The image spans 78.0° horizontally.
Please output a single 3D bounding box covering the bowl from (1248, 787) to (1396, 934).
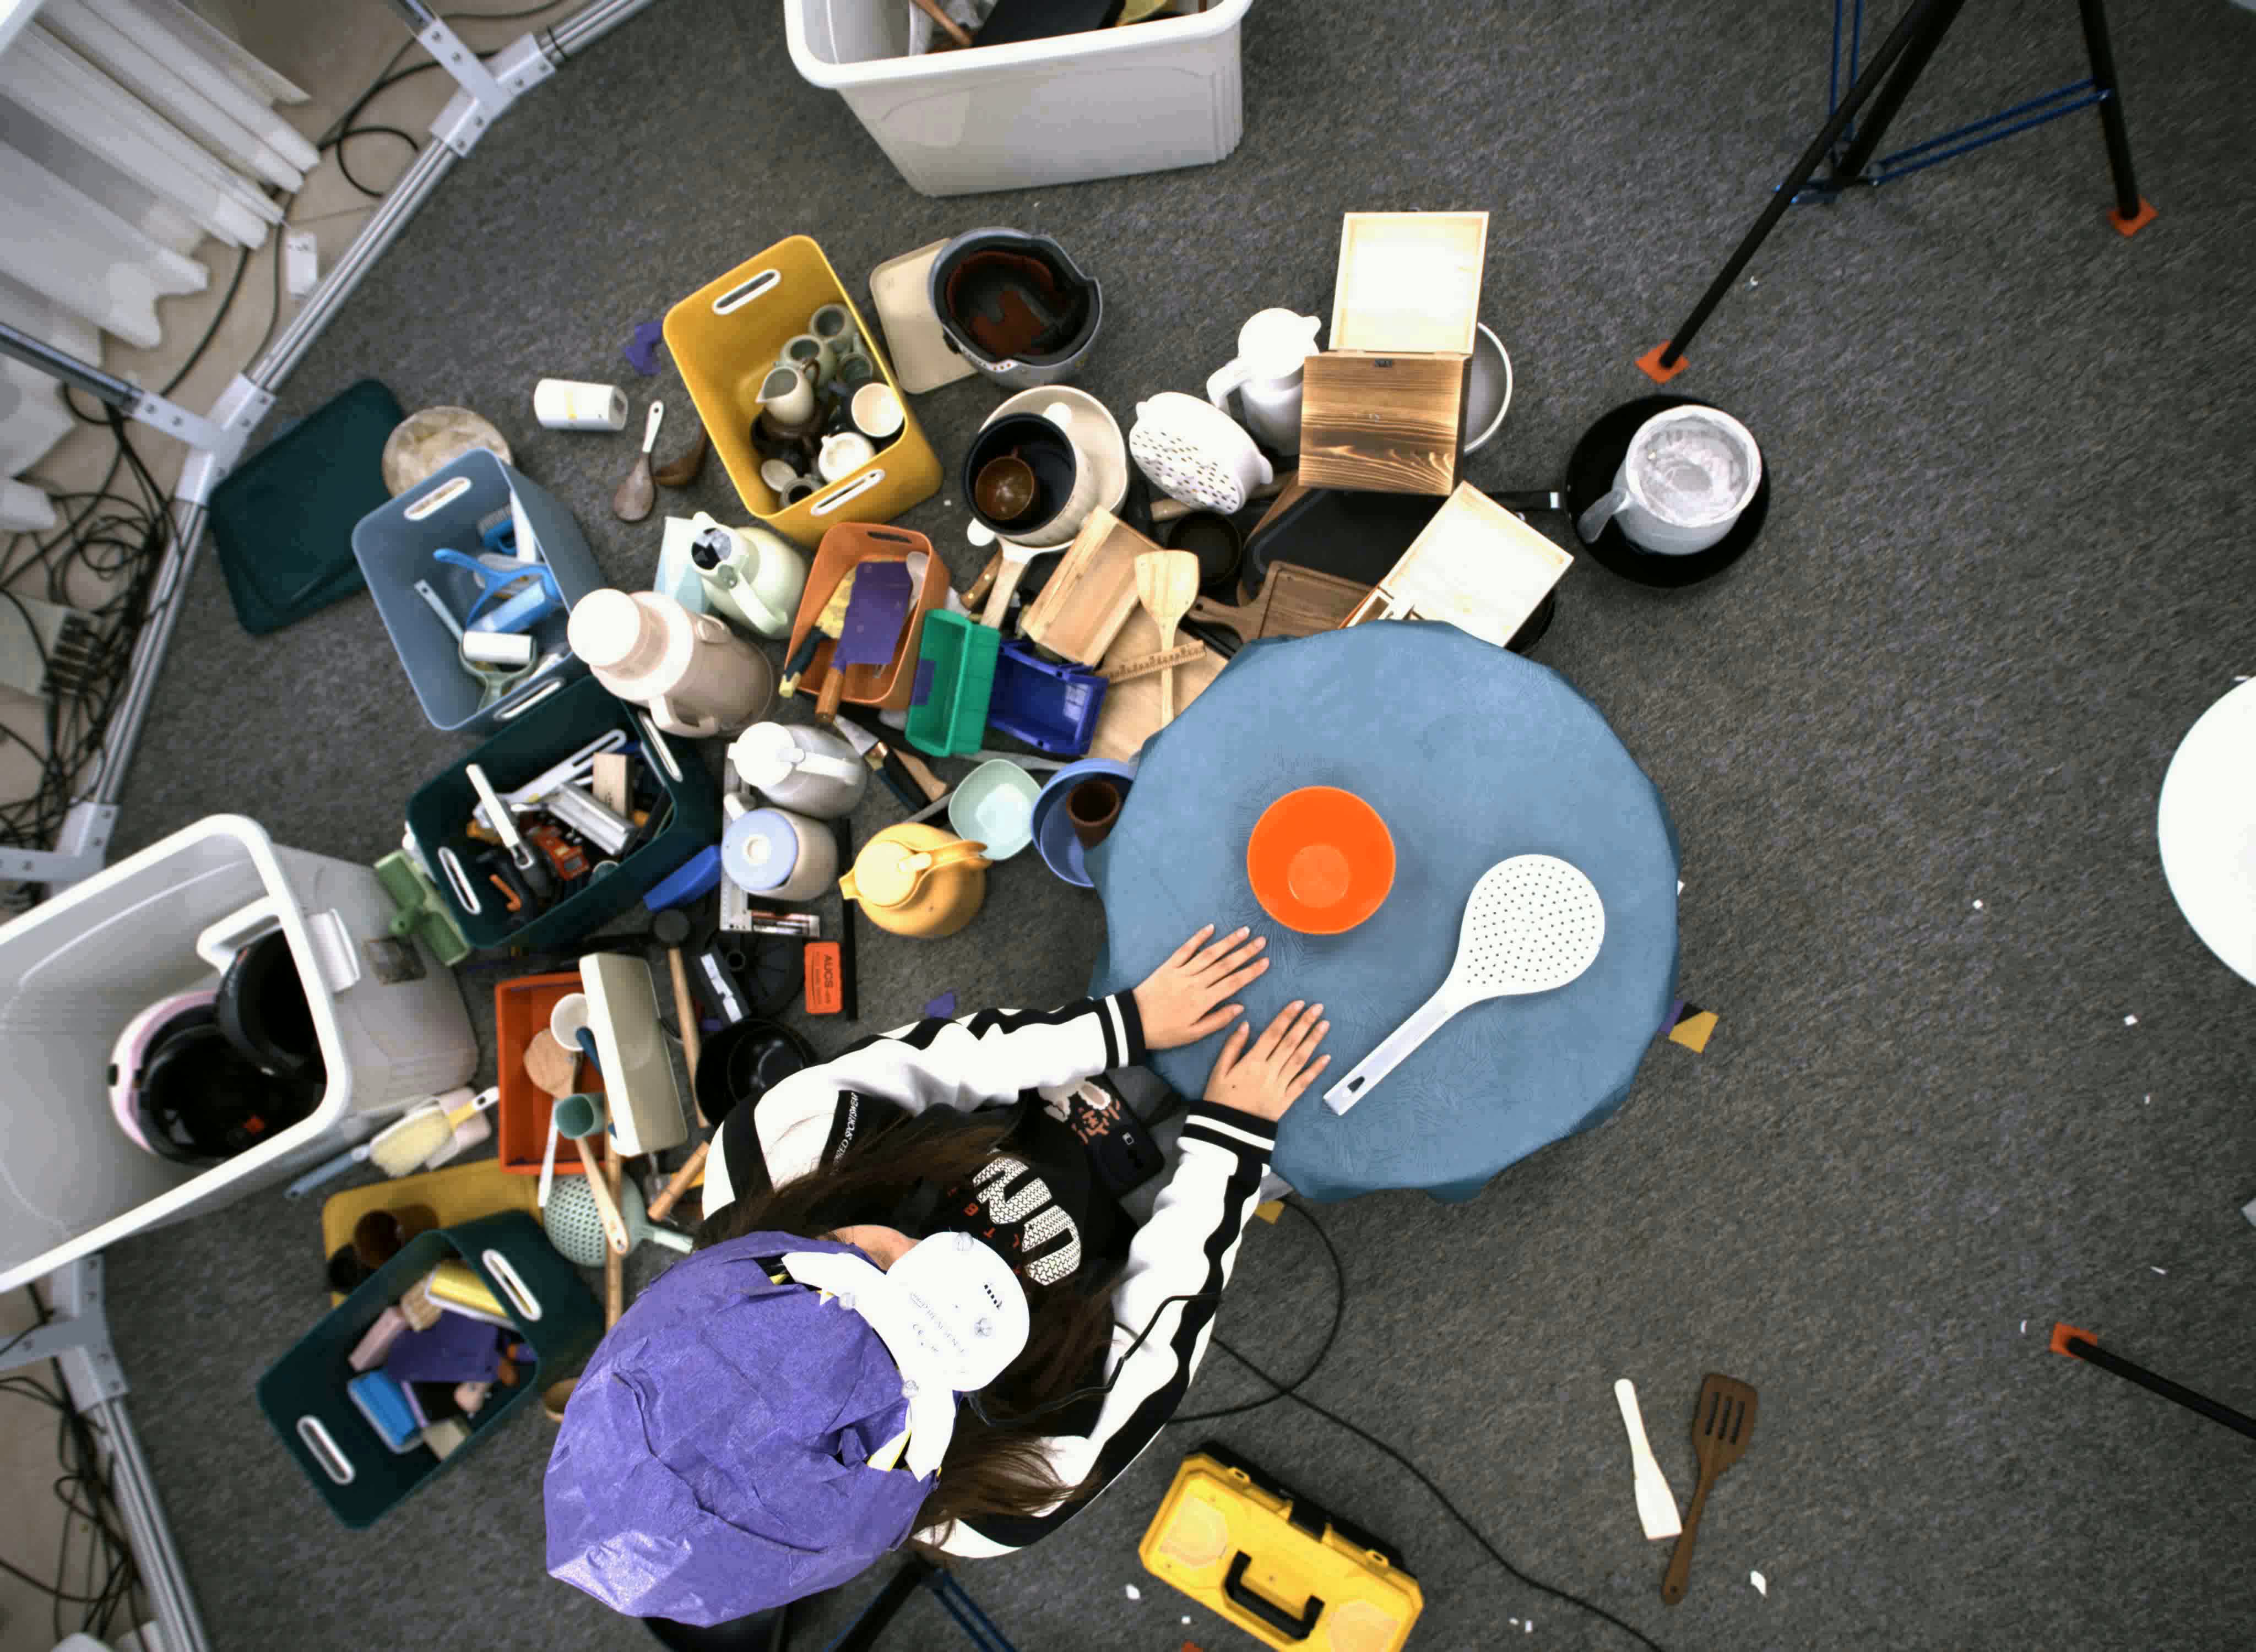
[{"bbox_3d":[0.199,0.038,1.424,0.148,0.104,0.147,0,88,8],"label":"bowl"}]

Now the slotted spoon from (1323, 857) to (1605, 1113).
[{"bbox_3d":[0.337,0.171,1.419,0.351,0.046,0.135,-43,79,6],"label":"slotted spoon"}]
